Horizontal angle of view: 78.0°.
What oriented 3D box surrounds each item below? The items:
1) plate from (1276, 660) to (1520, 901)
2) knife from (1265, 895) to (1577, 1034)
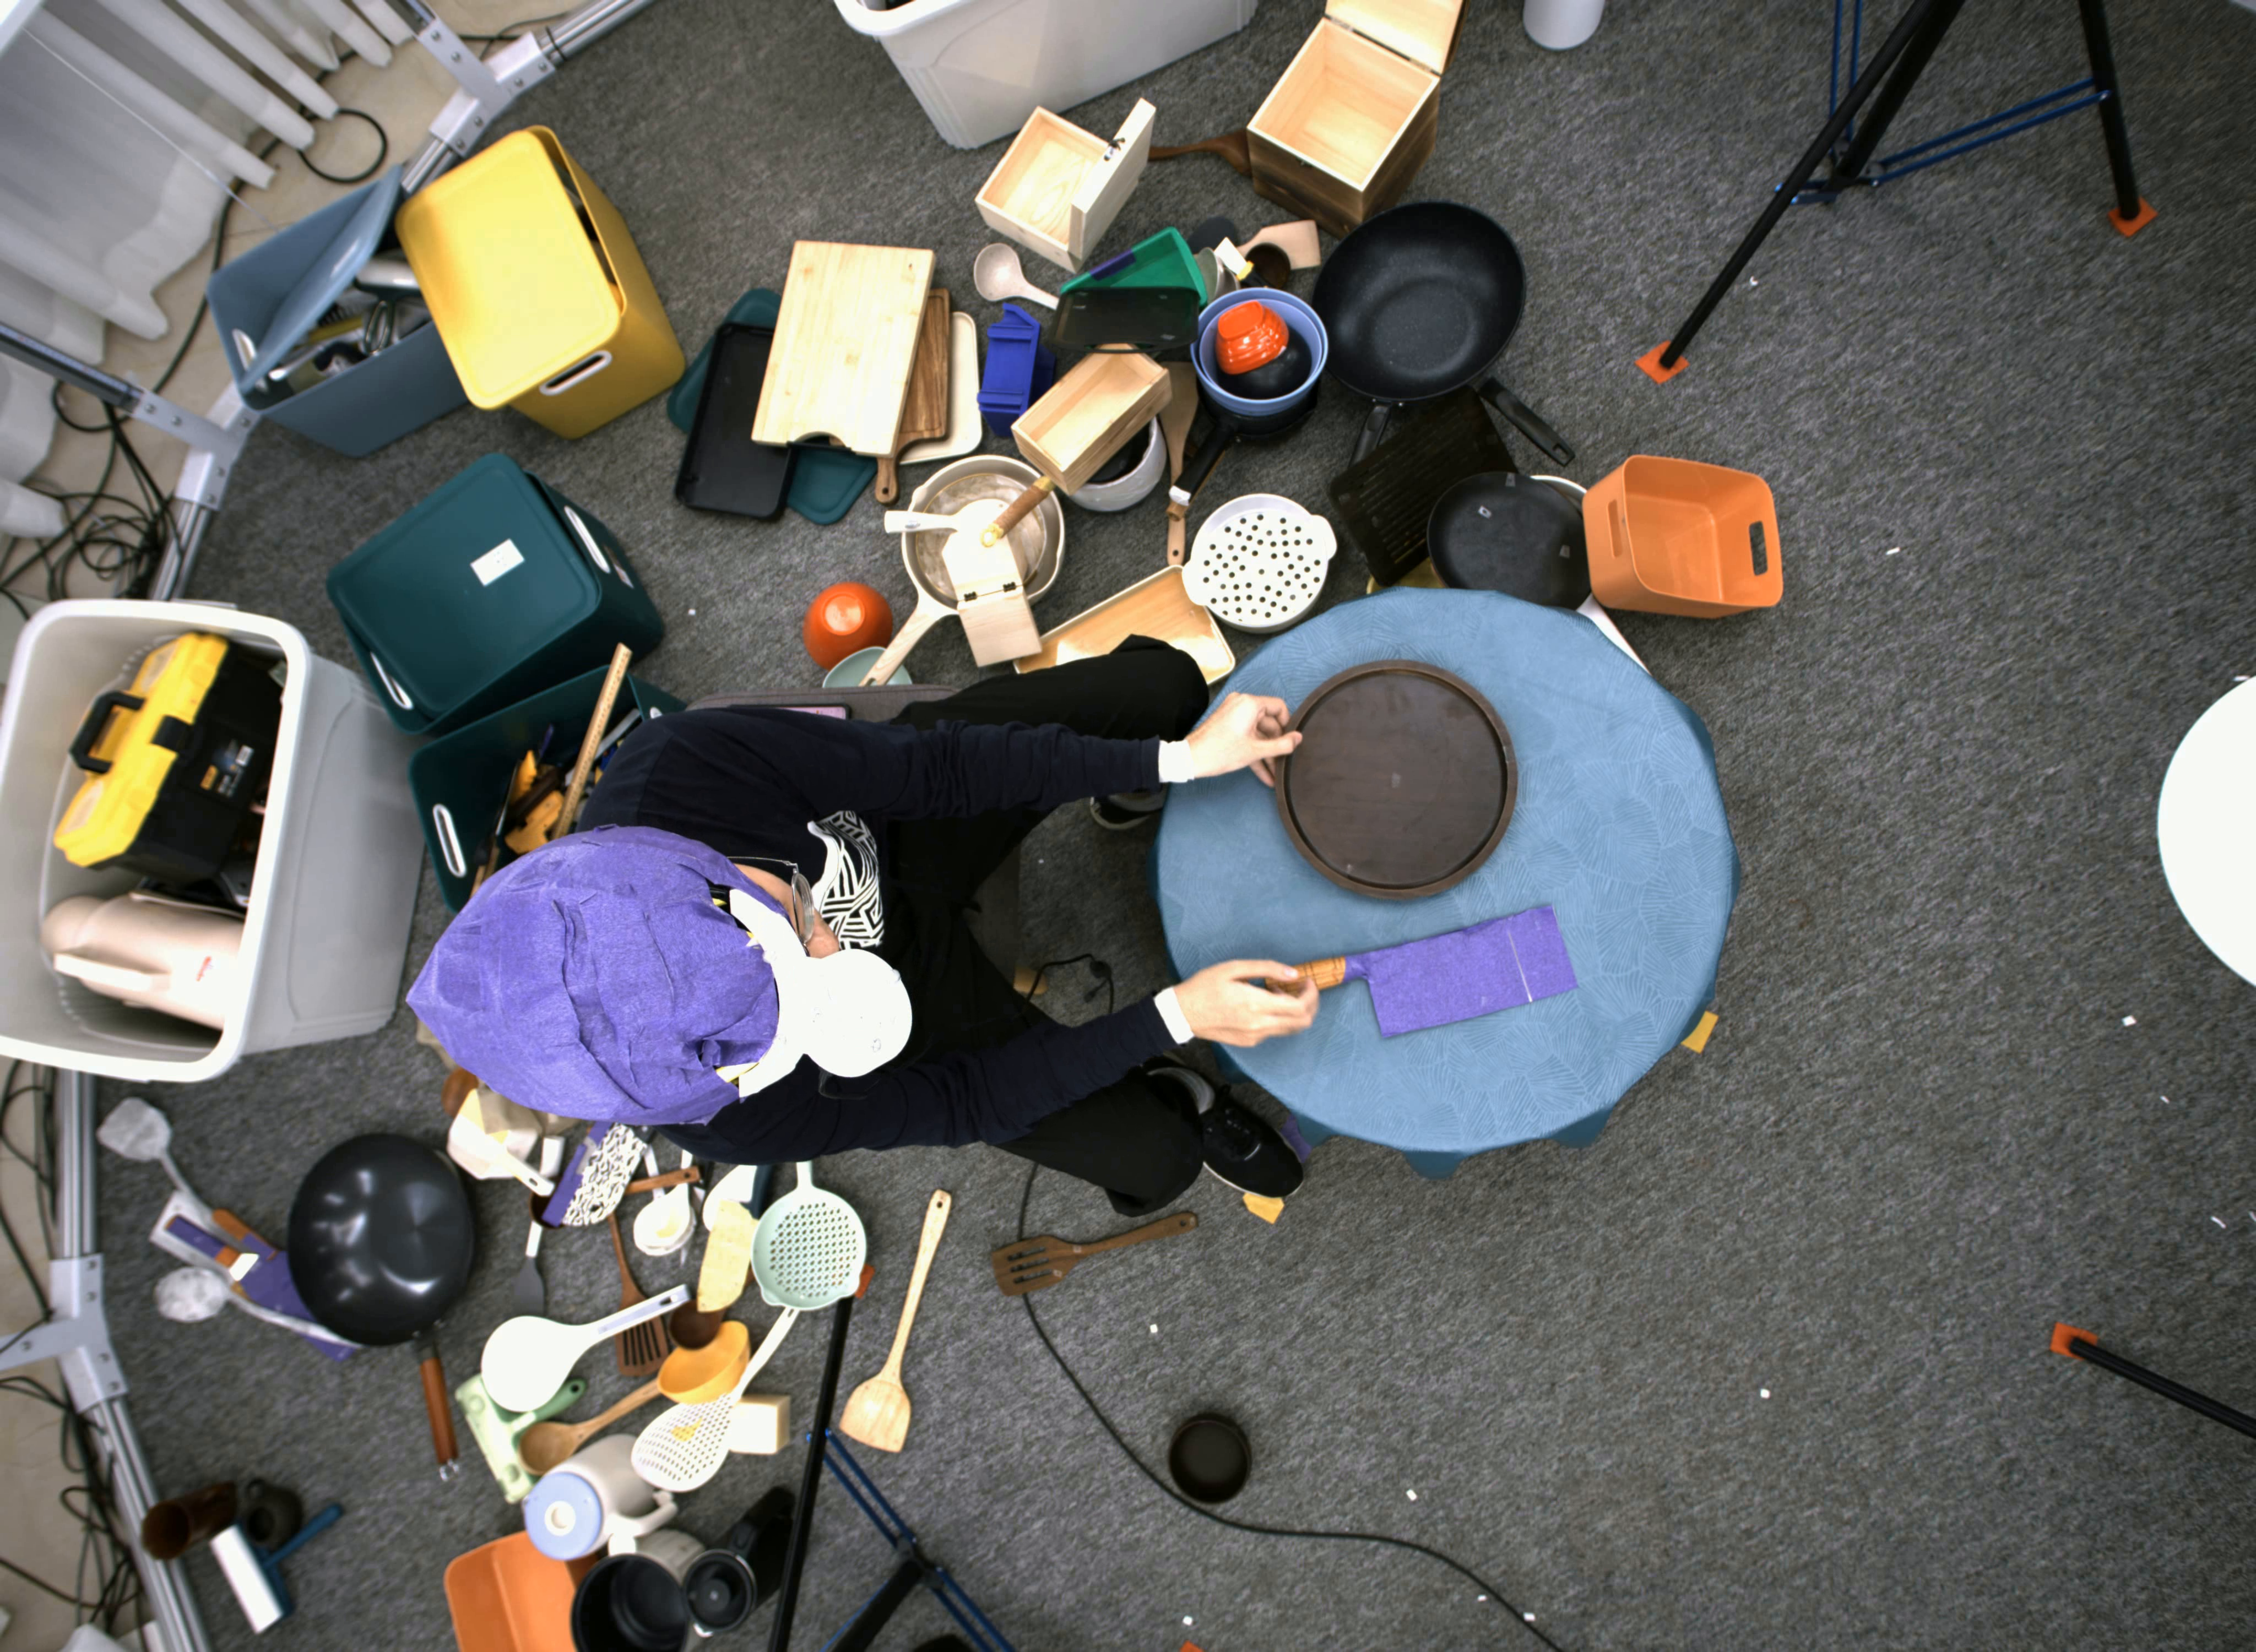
[{"bbox_3d":[0.281,-0.049,1.443,0.255,0.029,0.254,0,90,6],"label":"plate"},{"bbox_3d":[0.304,0.160,1.435,0.317,0.032,0.103,-16,83,9],"label":"knife"}]
